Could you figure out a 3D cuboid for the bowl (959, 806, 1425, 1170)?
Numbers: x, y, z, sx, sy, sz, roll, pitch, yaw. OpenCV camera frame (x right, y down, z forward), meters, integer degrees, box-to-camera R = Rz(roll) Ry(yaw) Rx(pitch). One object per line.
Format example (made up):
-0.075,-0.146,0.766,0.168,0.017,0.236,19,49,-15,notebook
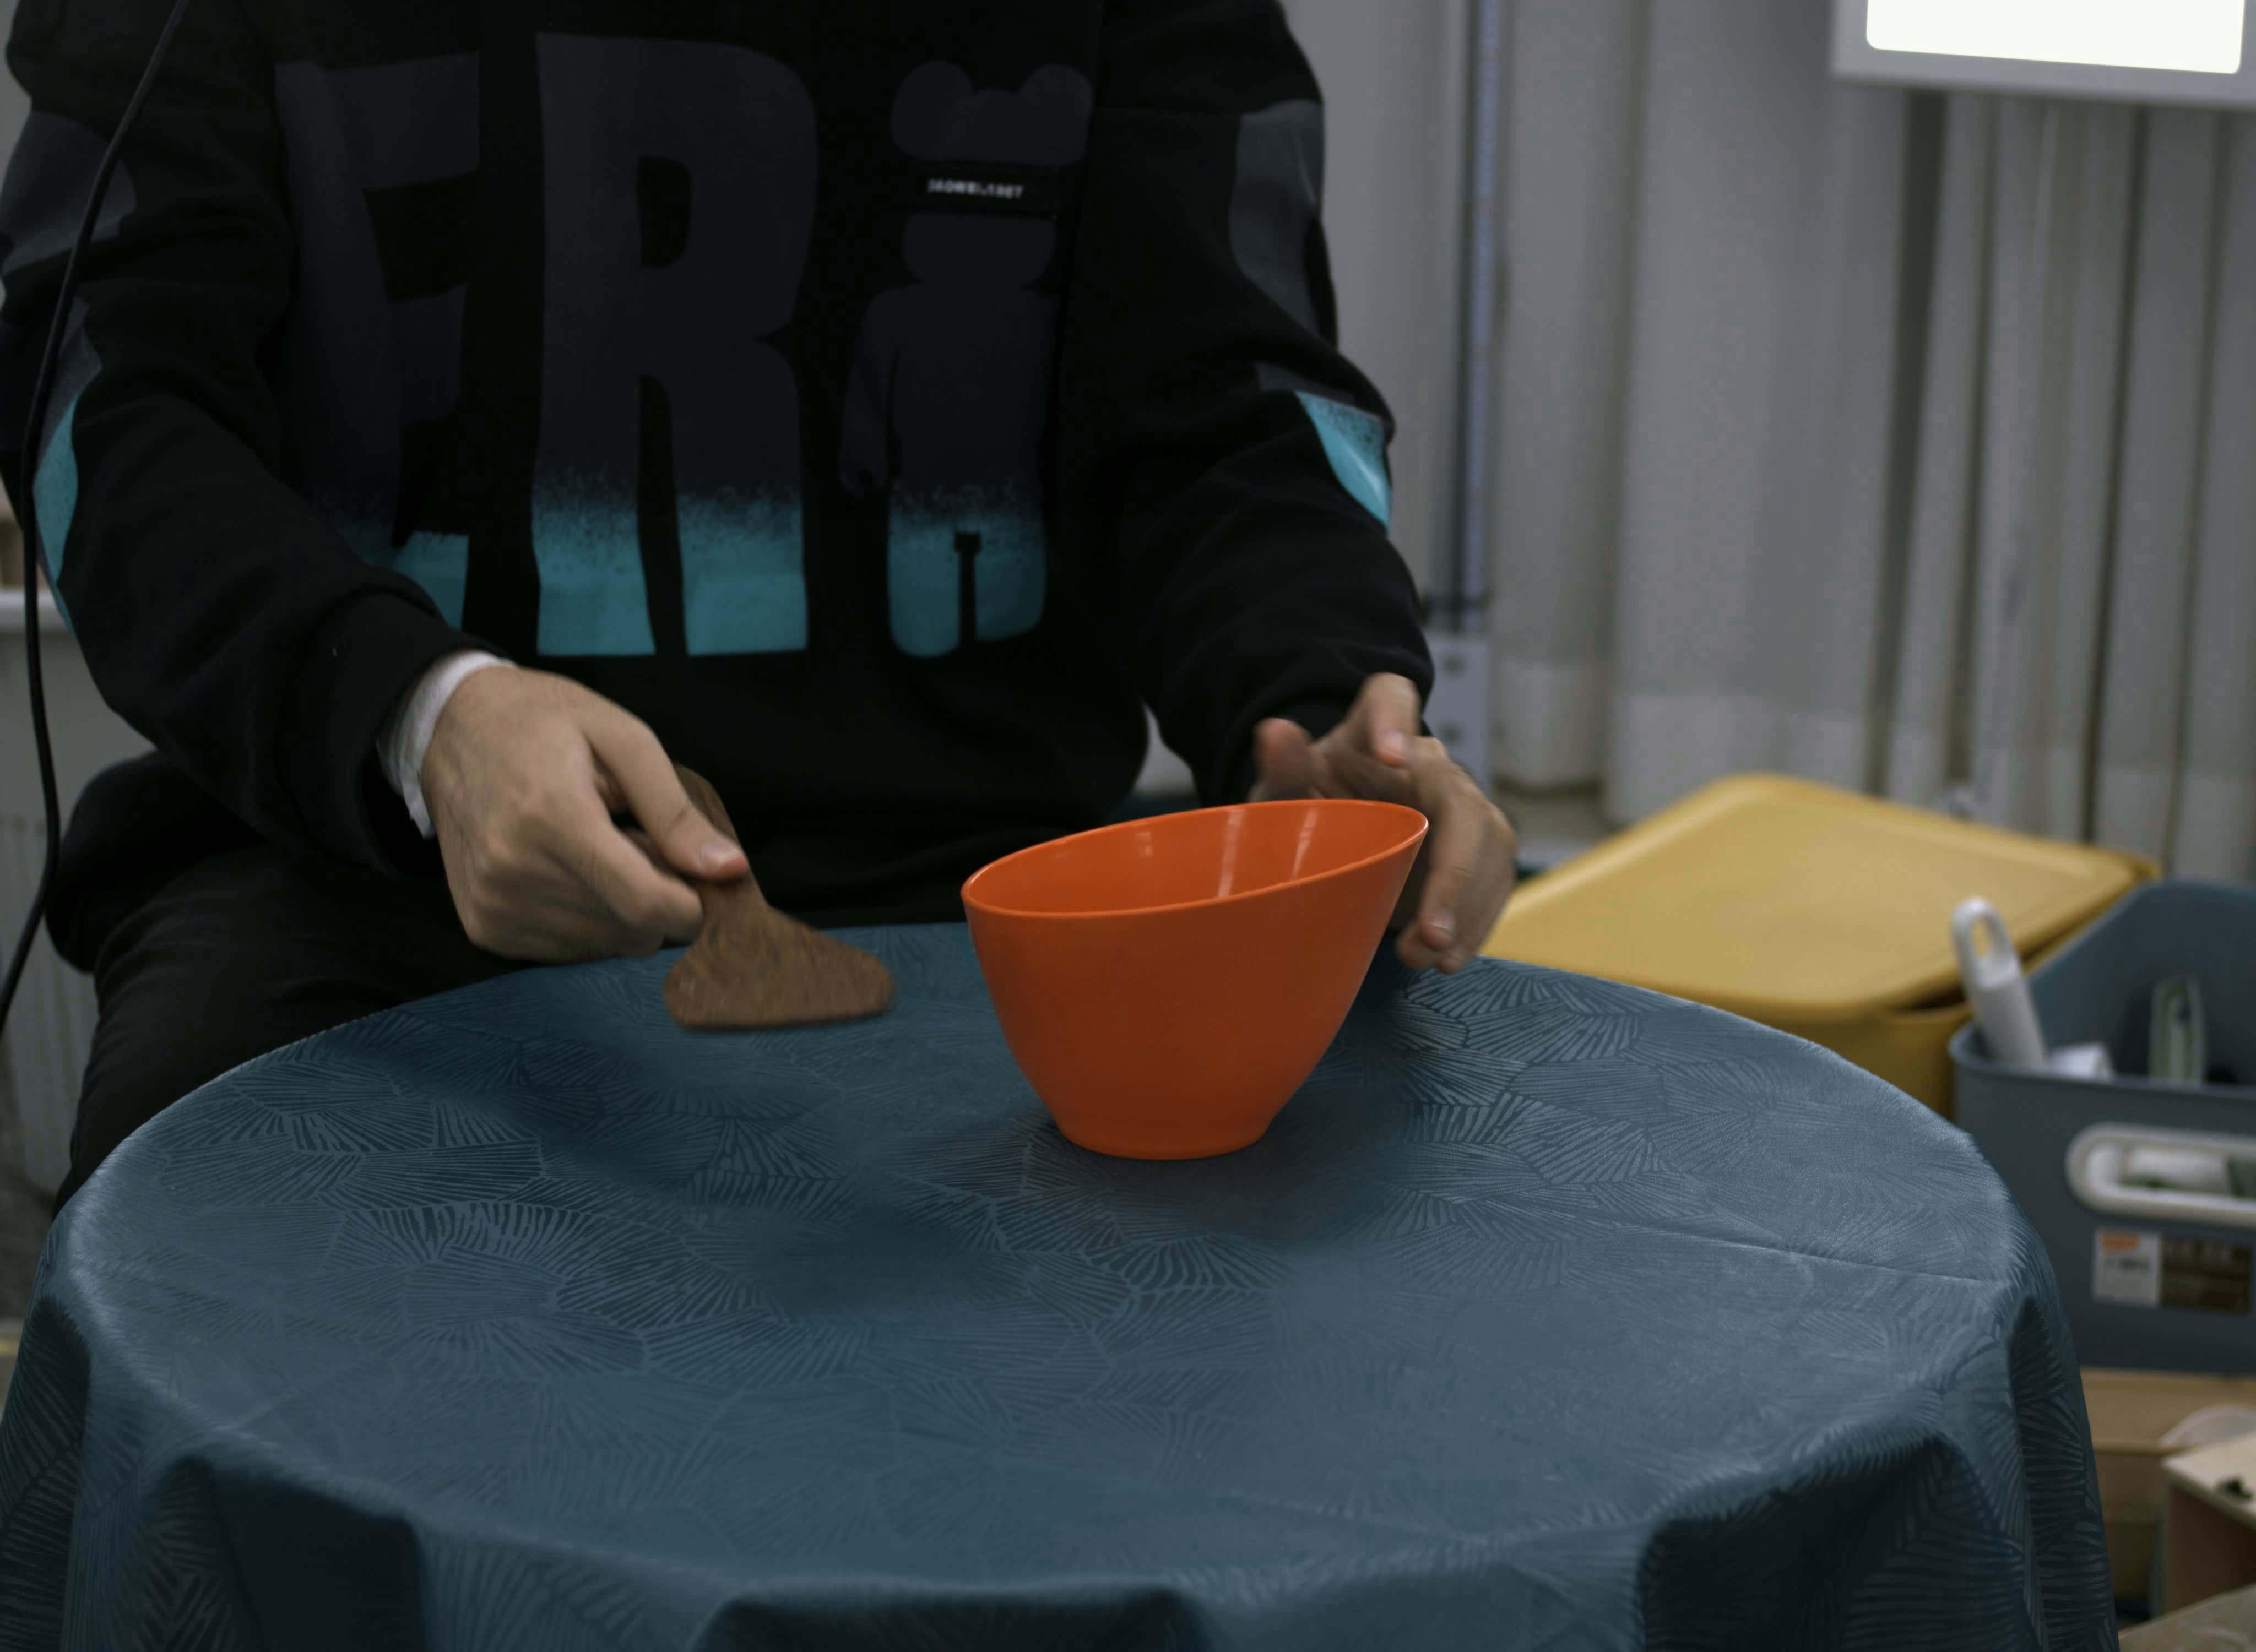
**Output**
0.020,0.051,1.665,0.147,0.105,0.147,-1,15,1,bowl

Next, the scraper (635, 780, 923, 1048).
-0.121,0.026,1.626,0.076,0.011,0.209,-4,23,-15,scraper
